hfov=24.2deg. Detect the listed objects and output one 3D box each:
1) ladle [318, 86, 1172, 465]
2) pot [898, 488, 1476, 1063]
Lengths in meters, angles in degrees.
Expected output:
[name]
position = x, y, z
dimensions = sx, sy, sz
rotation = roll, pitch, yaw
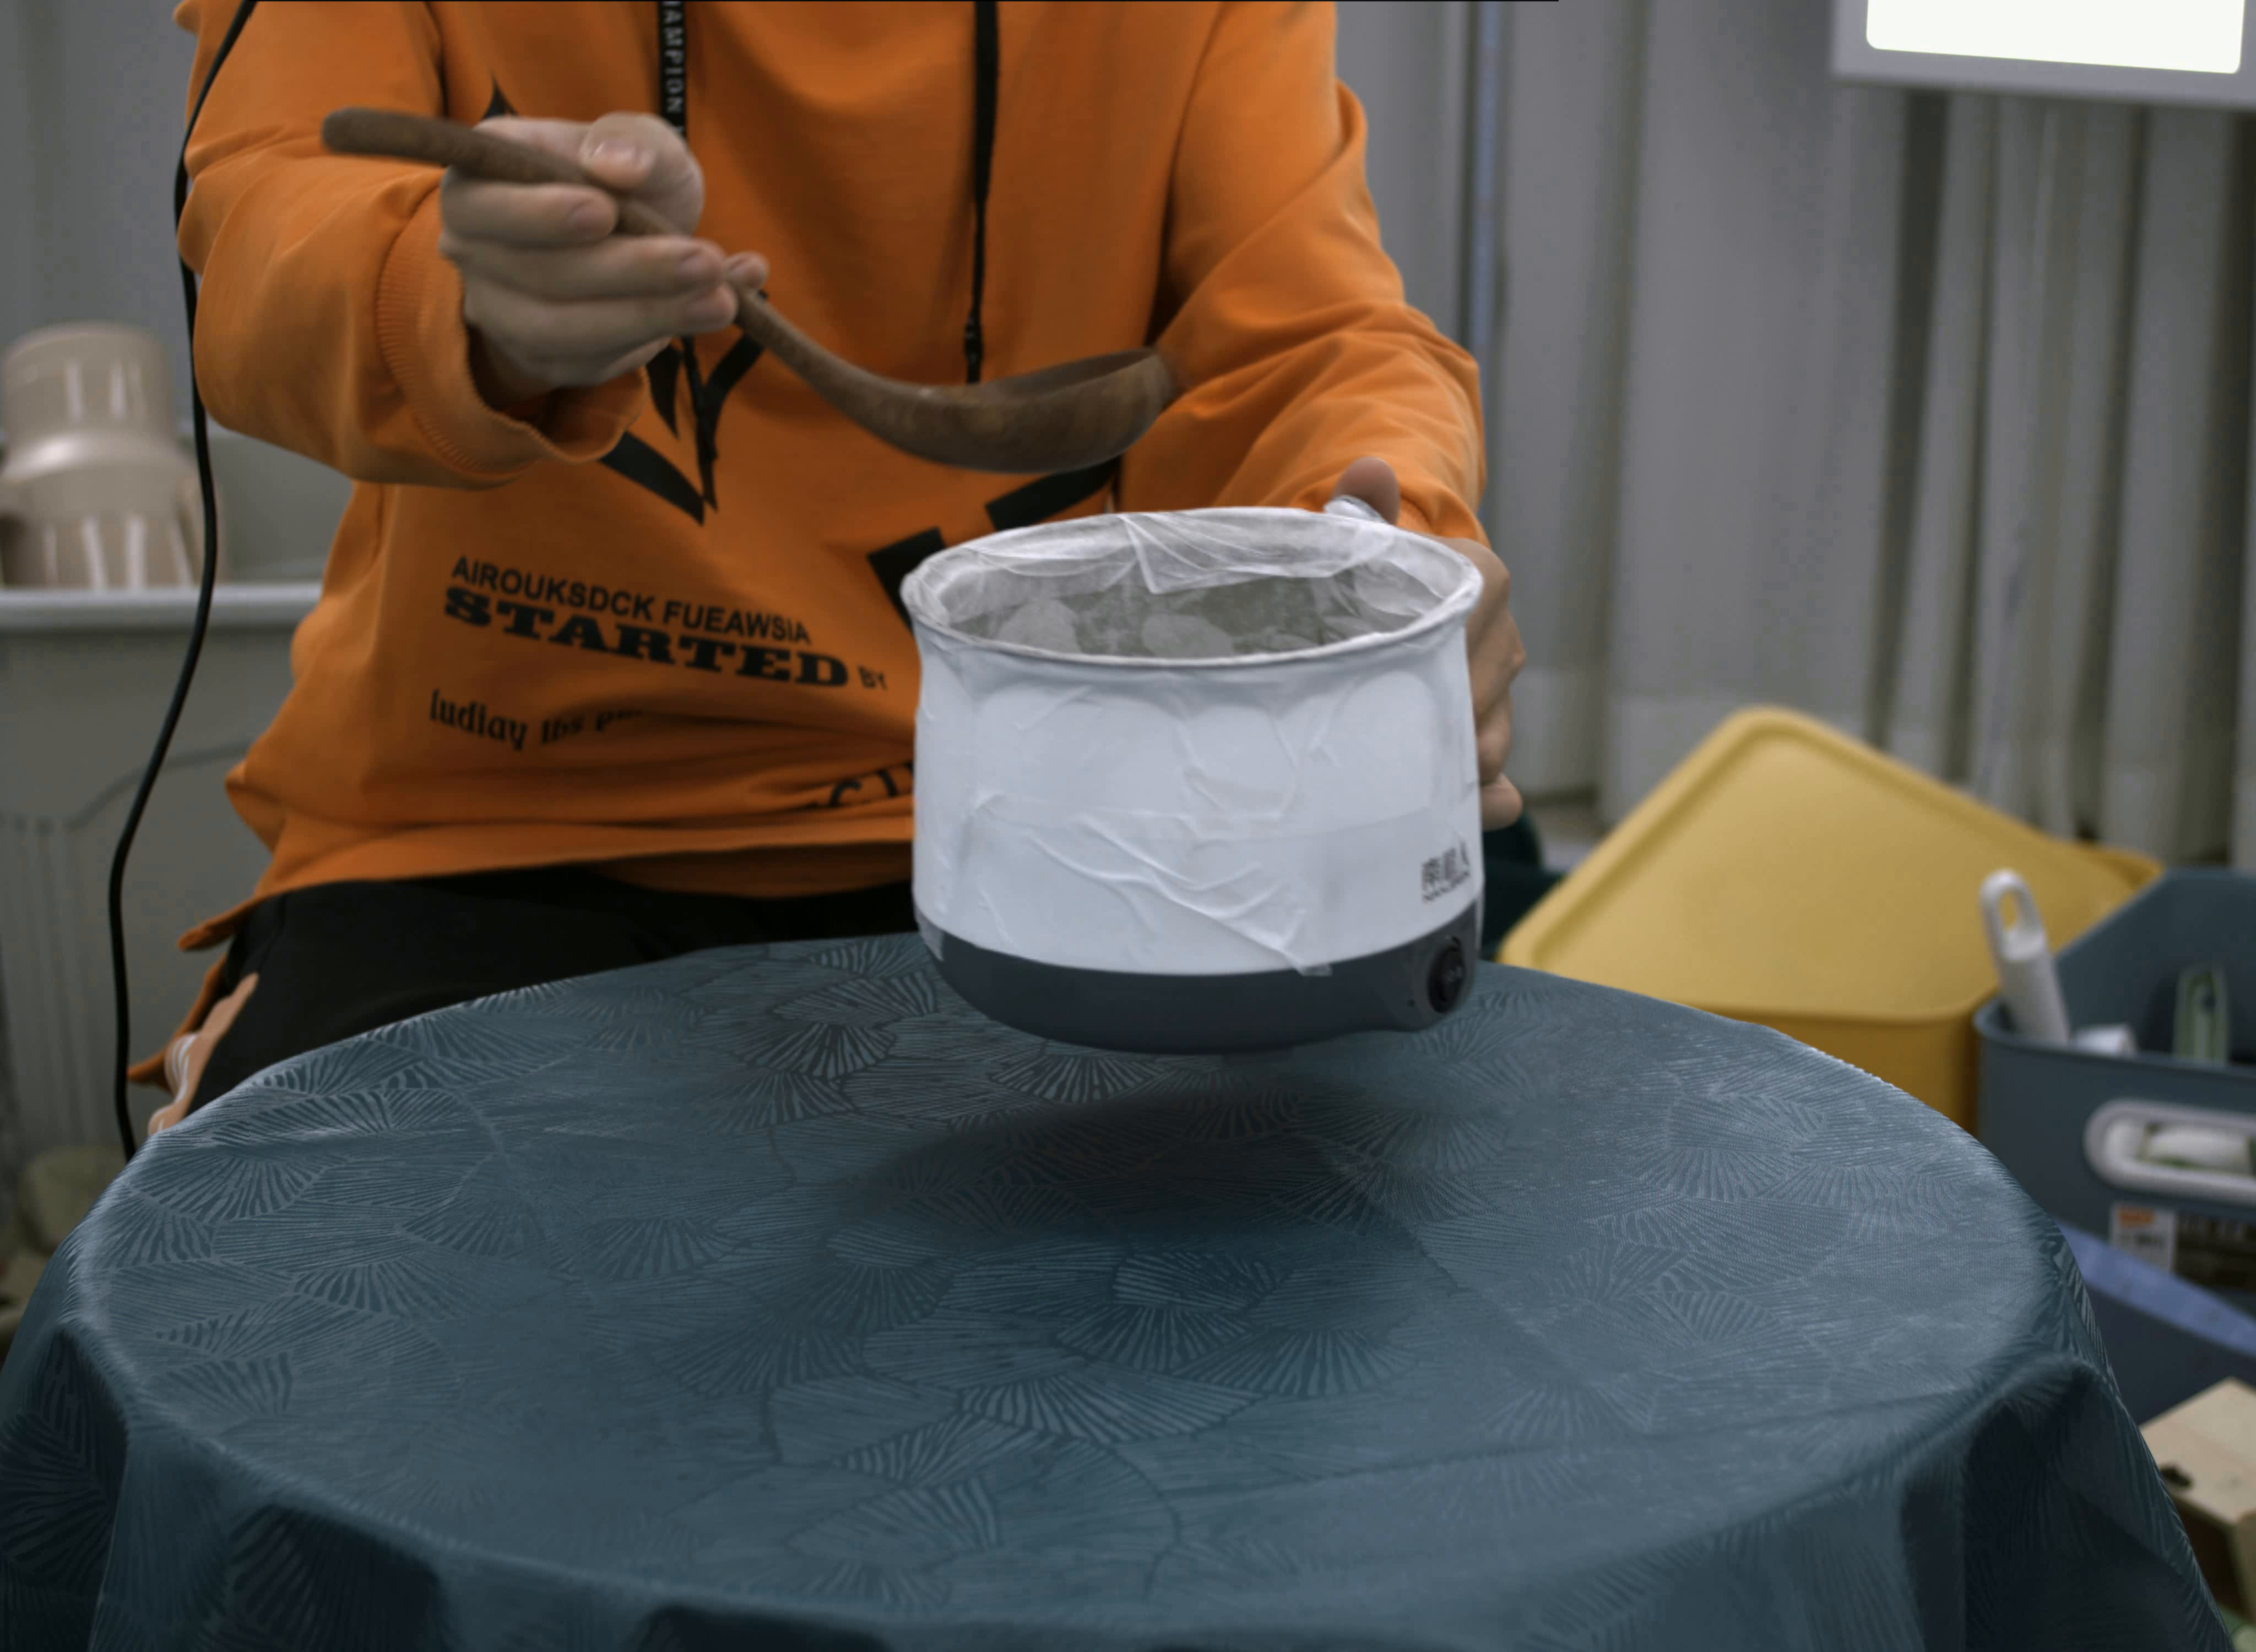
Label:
[ladle]
position = -0.109, -0.173, 1.545
dimensions = 0.261, 0.065, 0.076
rotation = 28, 2, -9
[pot]
position = 0.033, -0.023, 1.641
dimensions = 0.176, 0.138, 0.234
rotation = 9, 21, 27
